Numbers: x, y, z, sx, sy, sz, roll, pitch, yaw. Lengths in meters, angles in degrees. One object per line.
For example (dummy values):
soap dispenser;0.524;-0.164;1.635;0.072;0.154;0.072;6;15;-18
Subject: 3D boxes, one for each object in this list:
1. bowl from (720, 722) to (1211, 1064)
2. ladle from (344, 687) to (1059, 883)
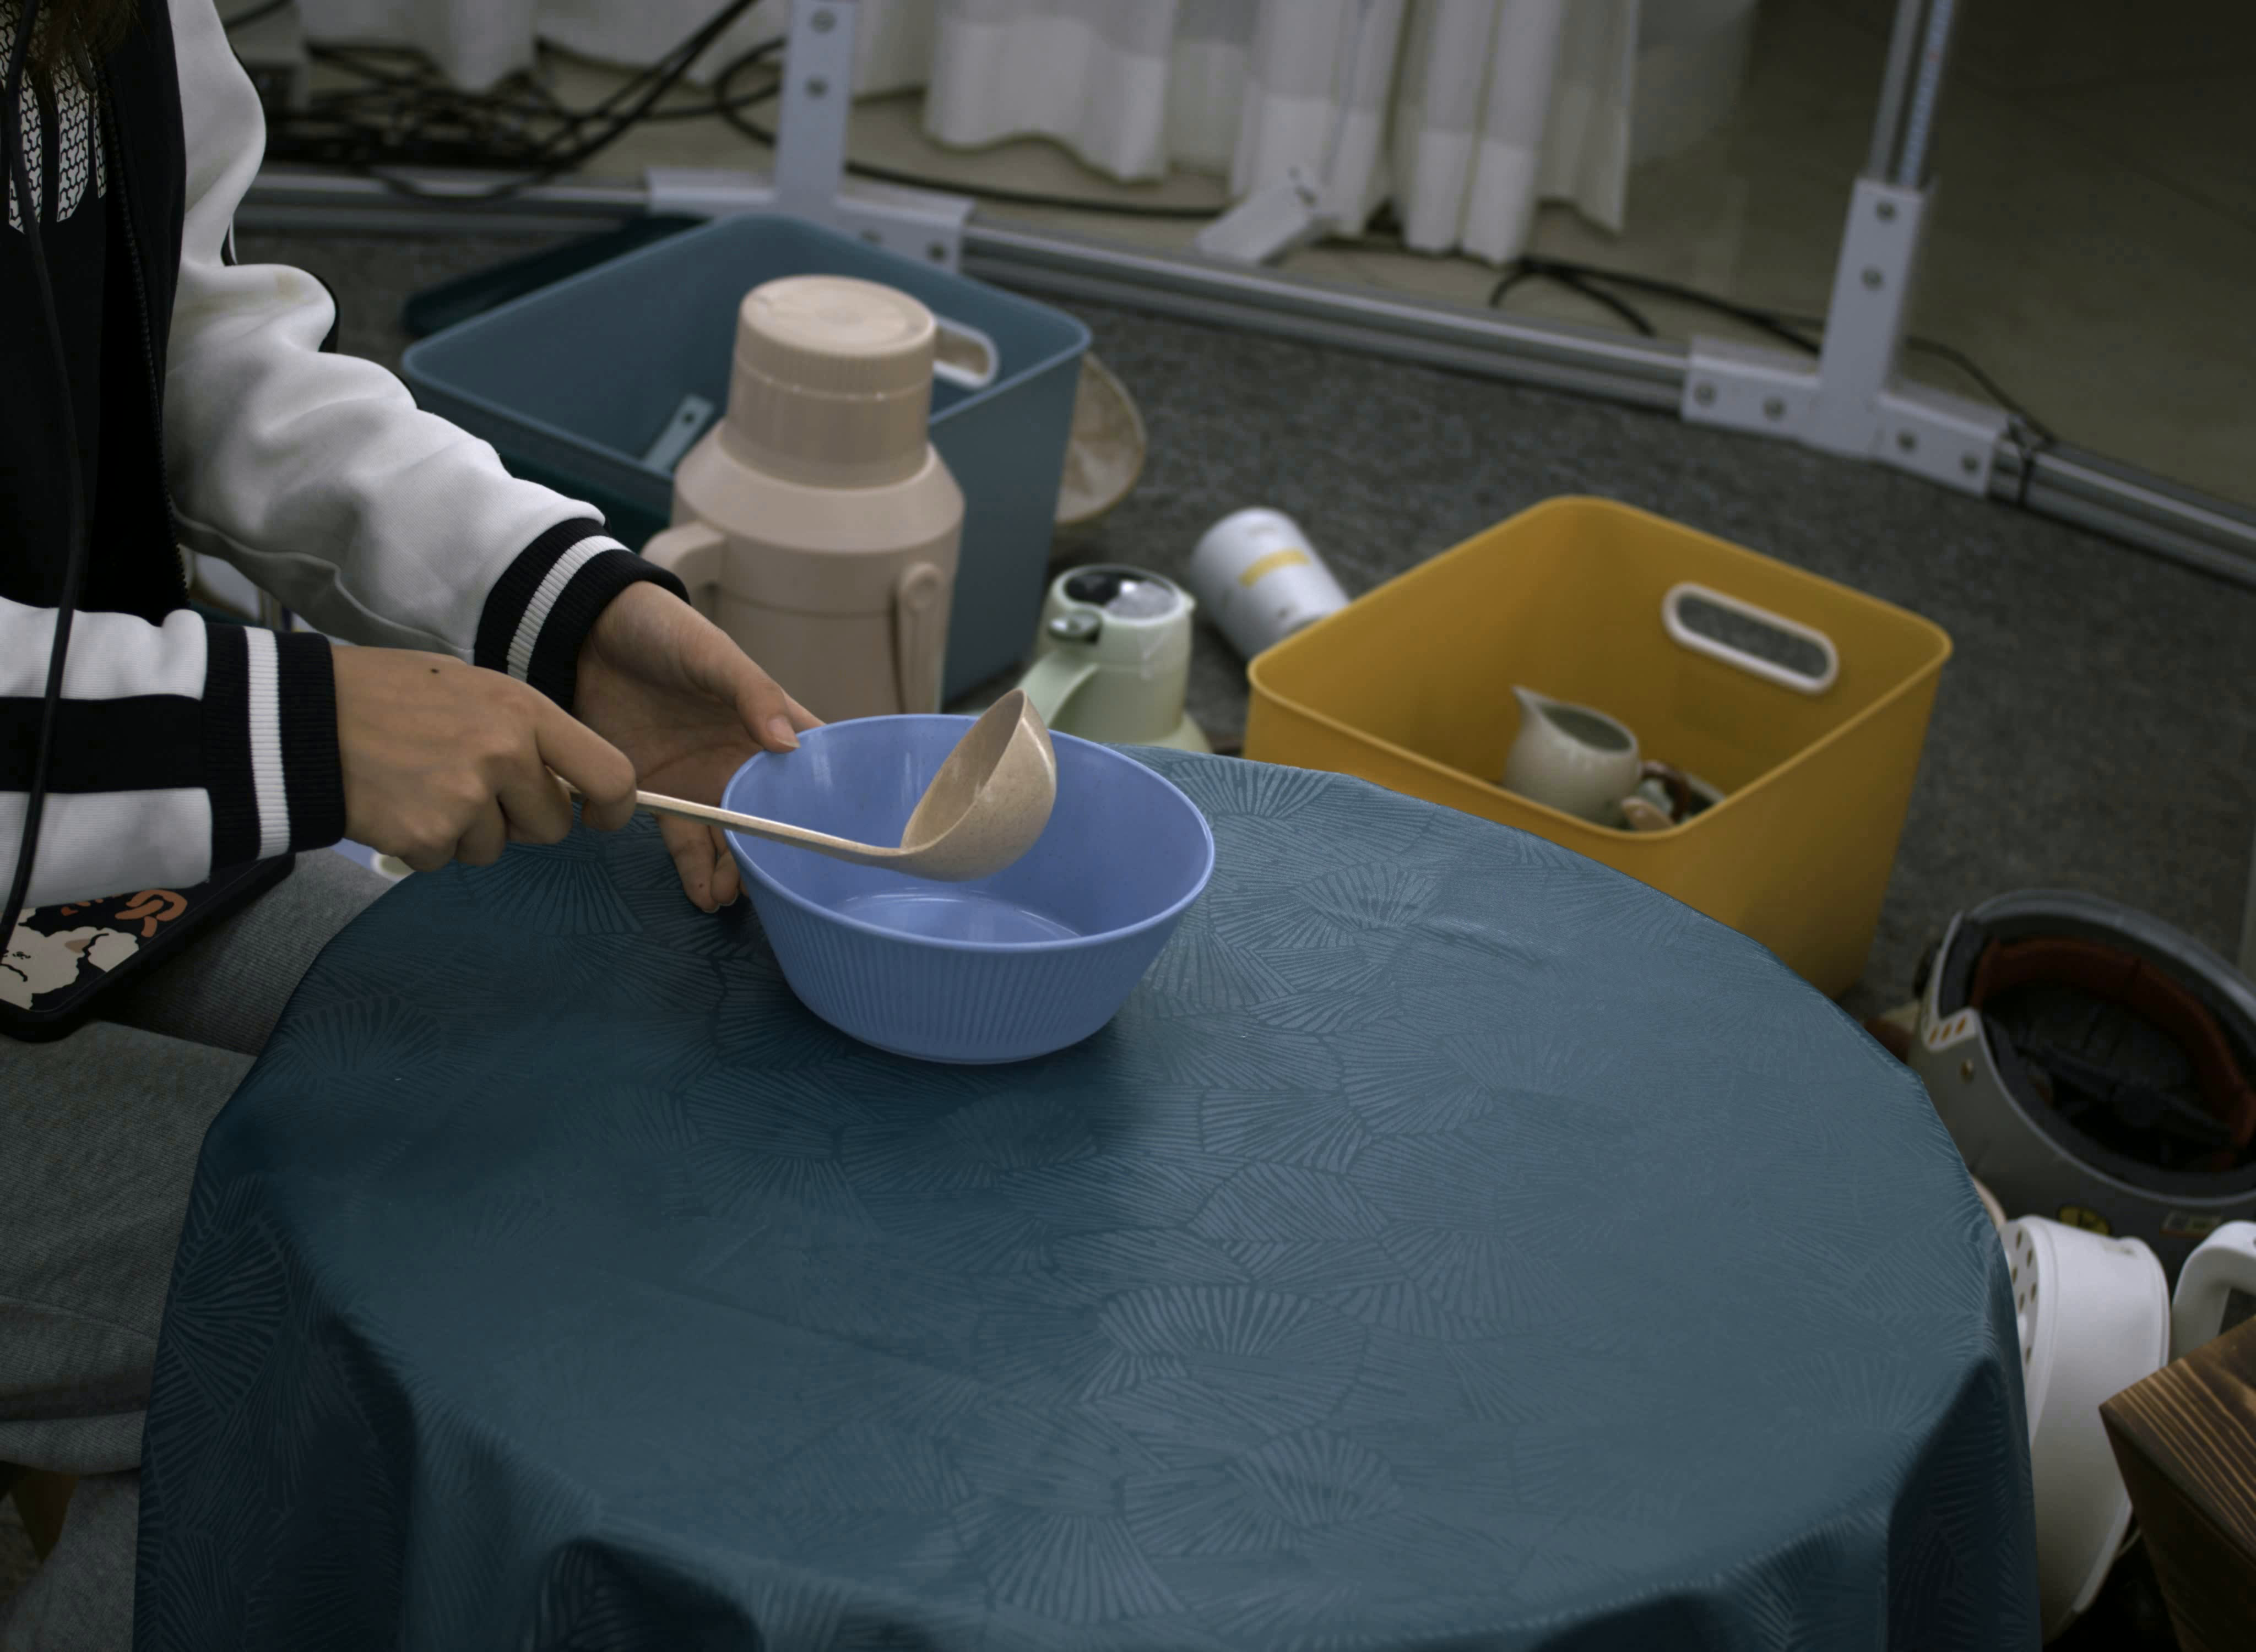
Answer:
bowl;-0.061;0.029;1.897;0.175;0.070;0.177;6;26;-3
ladle;-0.145;-0.031;1.833;0.252;0.073;0.072;10;-14;-24
